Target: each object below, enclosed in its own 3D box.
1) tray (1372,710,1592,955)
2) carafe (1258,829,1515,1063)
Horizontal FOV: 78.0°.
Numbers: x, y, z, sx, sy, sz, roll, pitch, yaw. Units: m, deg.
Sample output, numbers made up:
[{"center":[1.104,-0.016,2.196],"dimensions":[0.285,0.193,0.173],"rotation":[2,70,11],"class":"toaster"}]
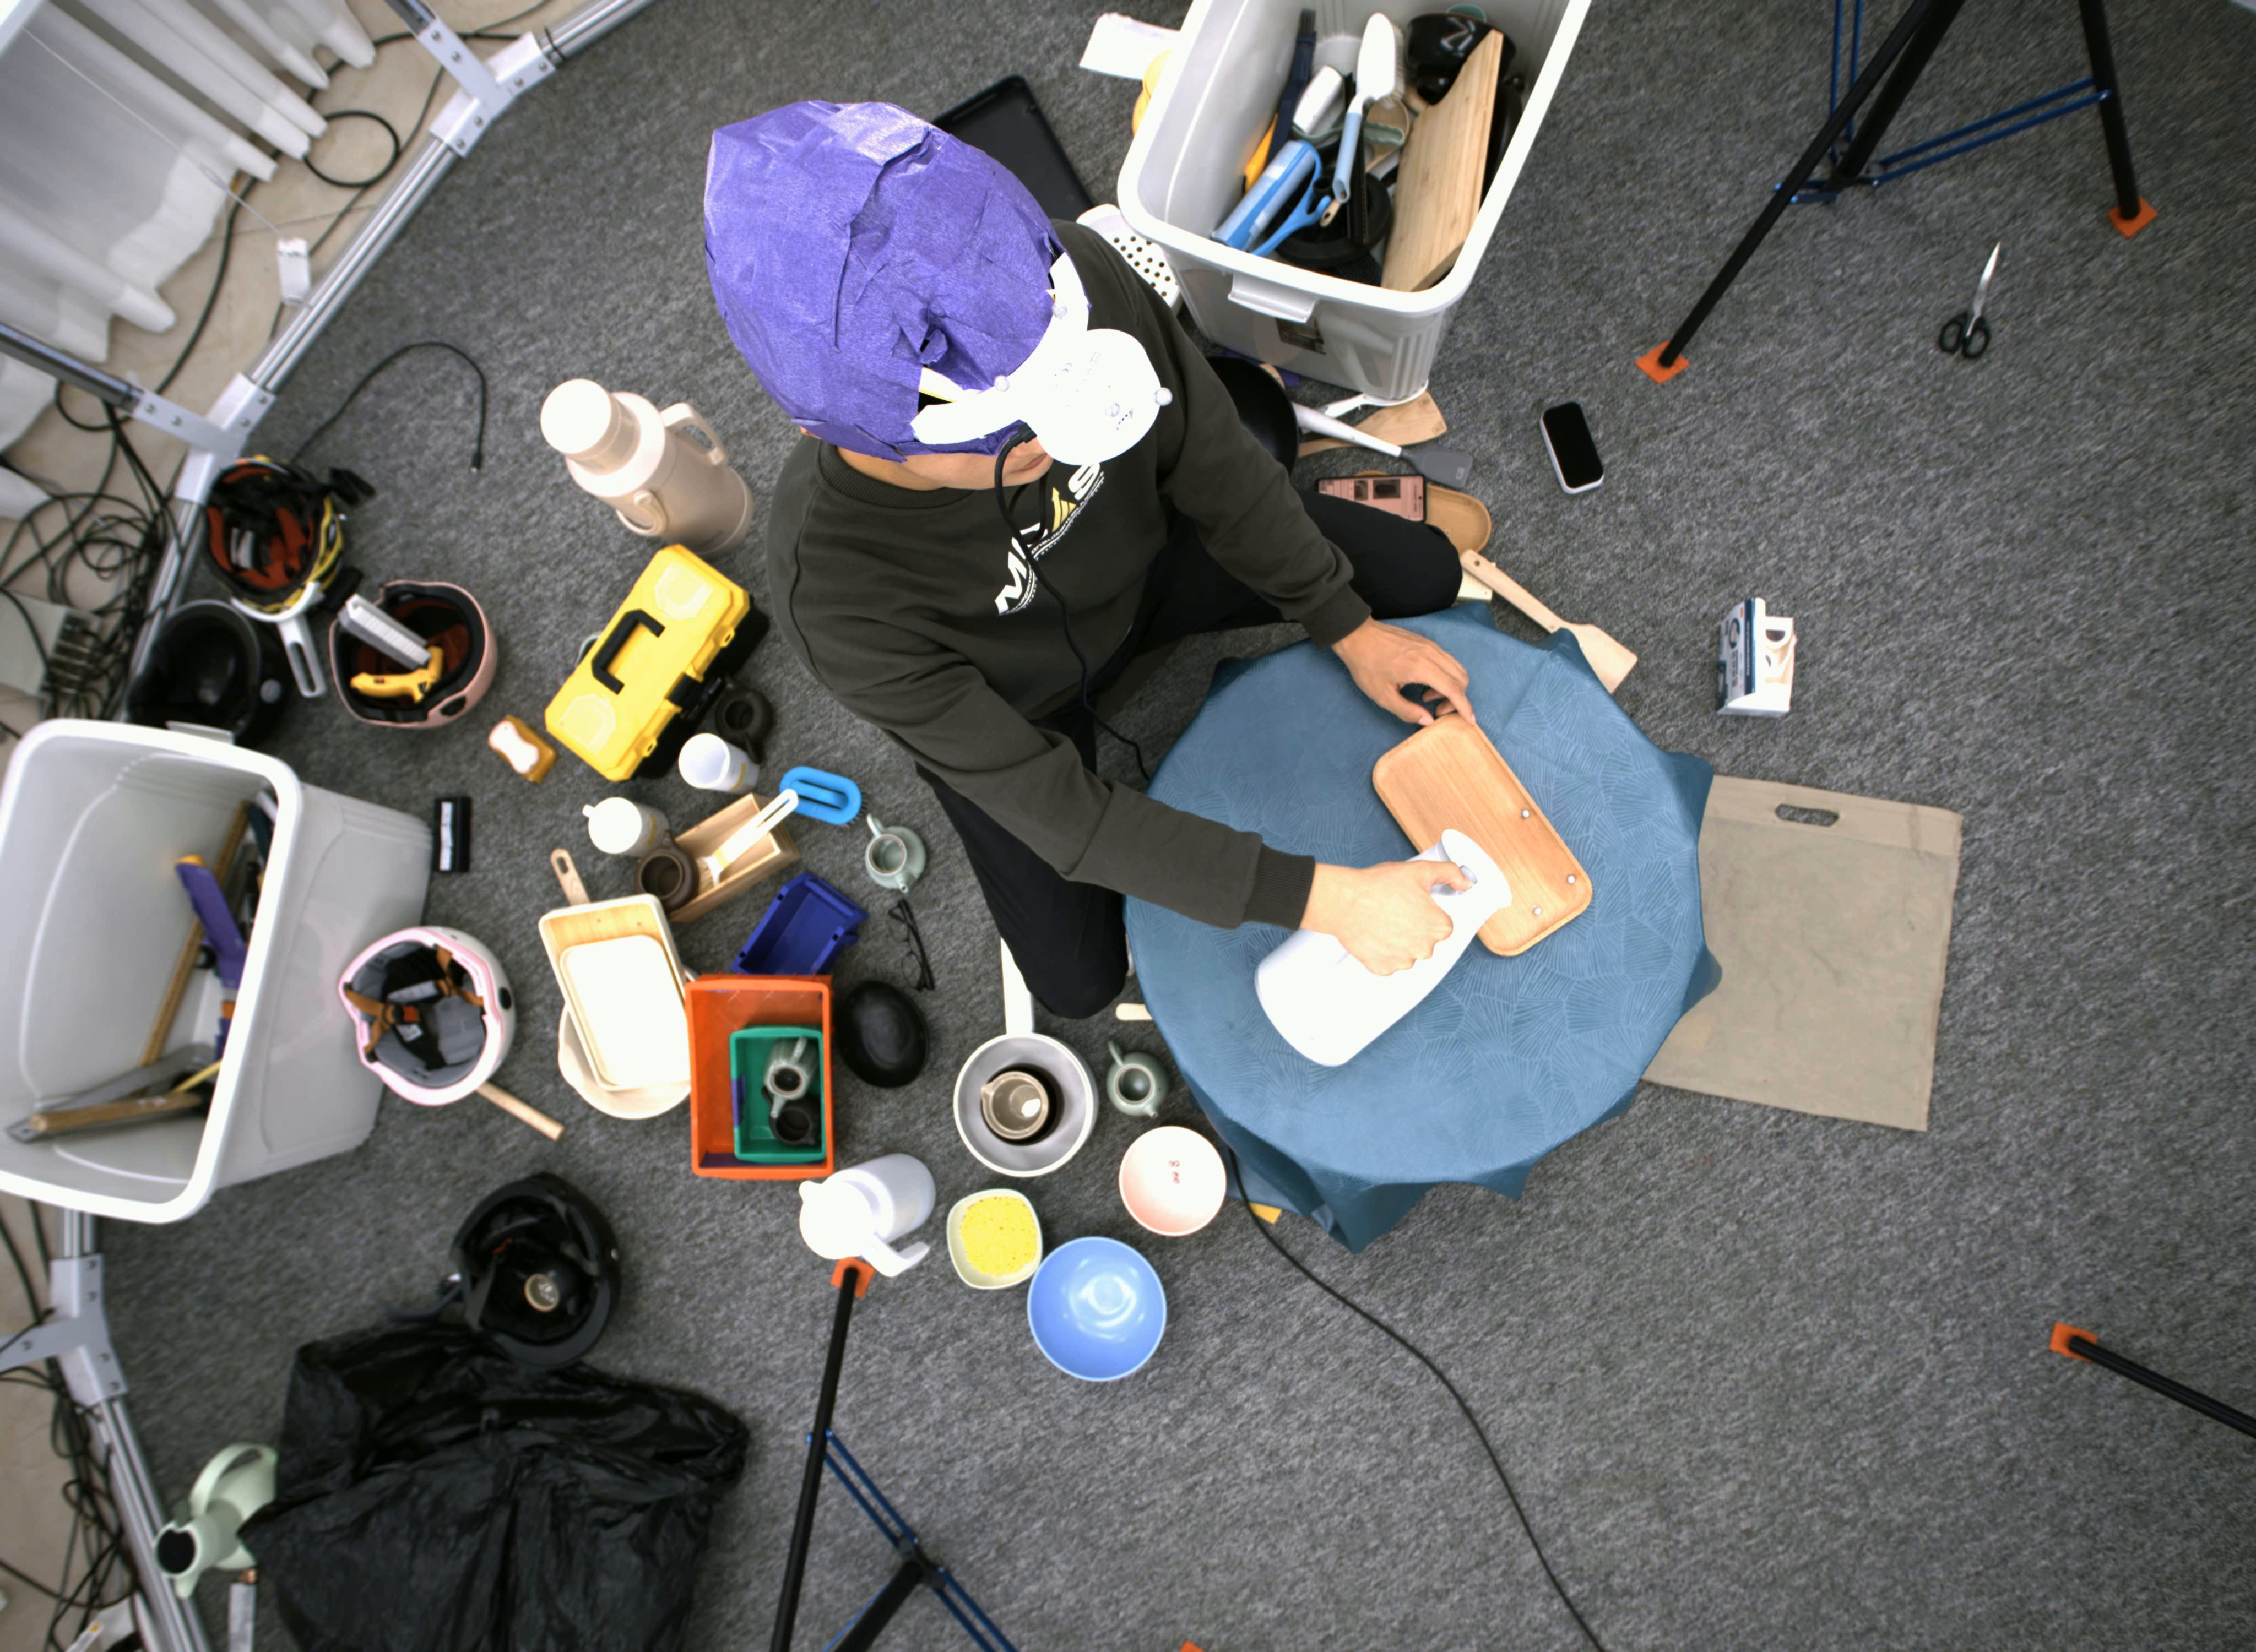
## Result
[{"center":[0.368,0.004,1.437],"dimensions":[0.131,0.023,0.249],"rotation":[-33,80,5],"class":"tray"},{"center":[0.248,0.113,1.324],"dimensions":[0.132,0.165,0.254],"rotation":[51,123,9],"class":"carafe"}]
